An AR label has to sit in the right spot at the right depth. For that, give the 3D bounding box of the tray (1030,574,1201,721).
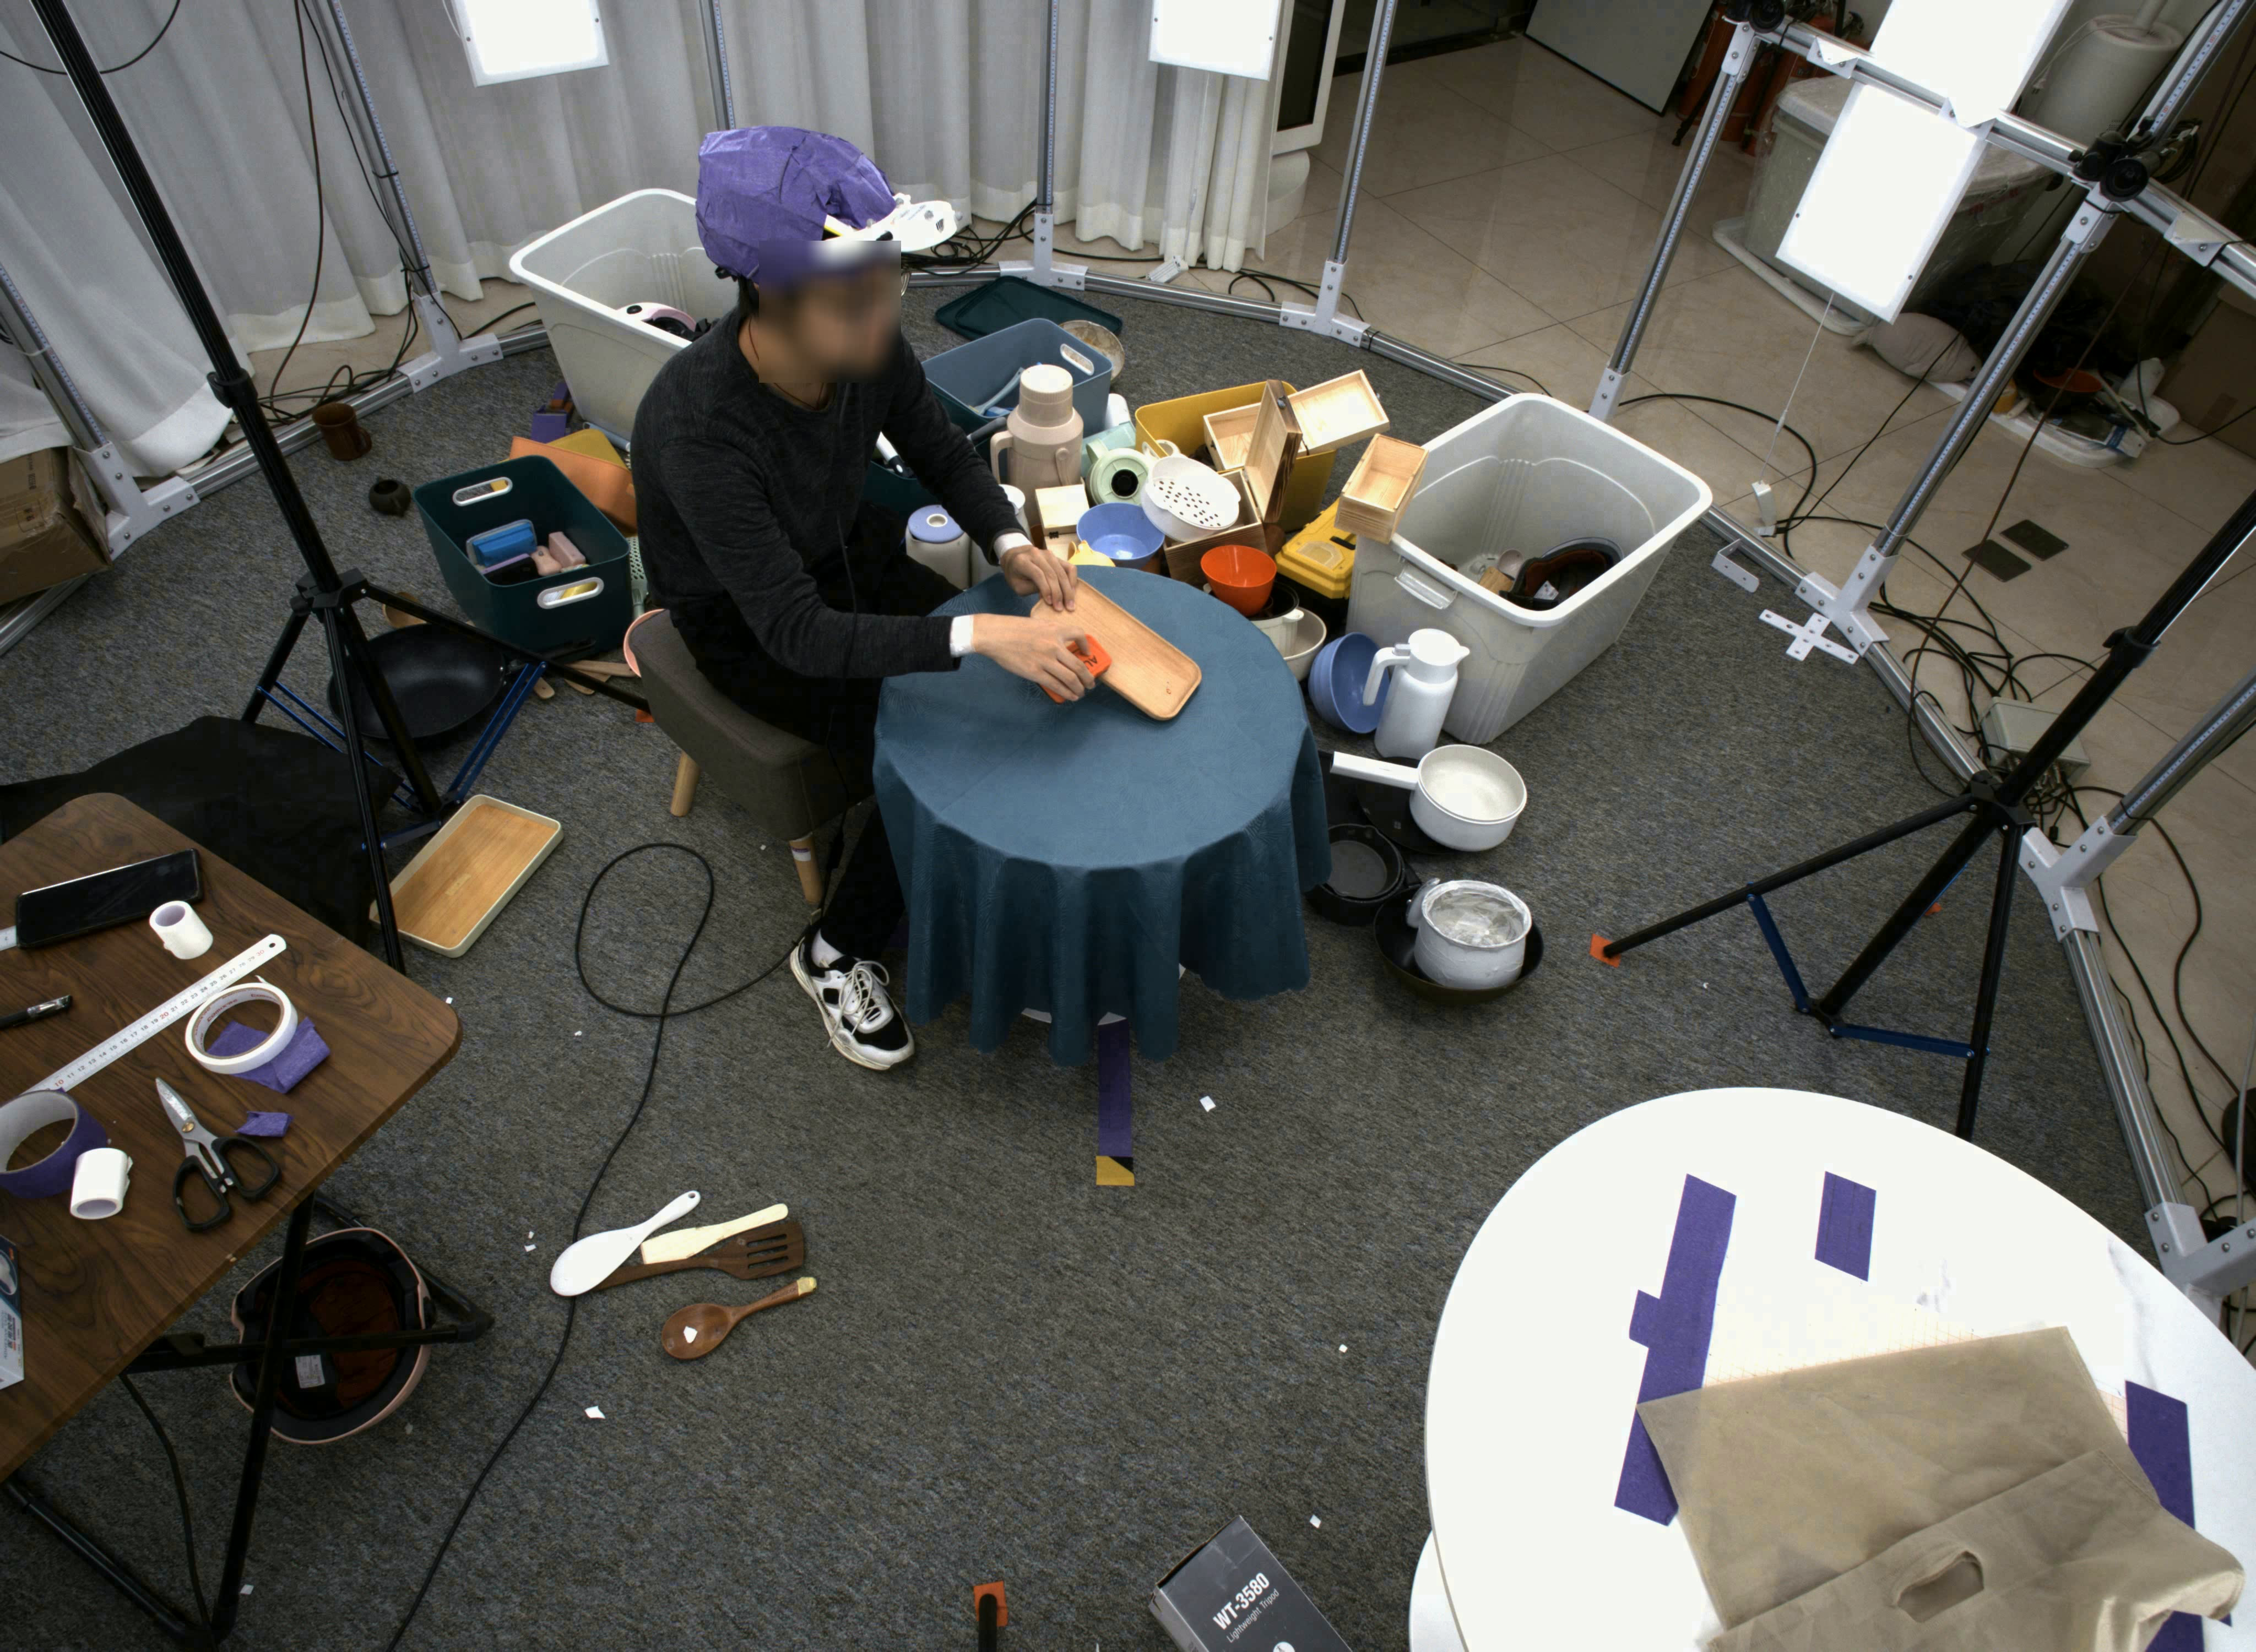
[{"bbox_3d":[-0.018,-0.254,1.827,0.251,0.022,0.133,37,51,2],"label":"tray"}]

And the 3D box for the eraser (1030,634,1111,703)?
[{"bbox_3d":[-0.078,-0.217,1.760,0.109,0.022,0.059,-38,80,-30],"label":"eraser"}]
